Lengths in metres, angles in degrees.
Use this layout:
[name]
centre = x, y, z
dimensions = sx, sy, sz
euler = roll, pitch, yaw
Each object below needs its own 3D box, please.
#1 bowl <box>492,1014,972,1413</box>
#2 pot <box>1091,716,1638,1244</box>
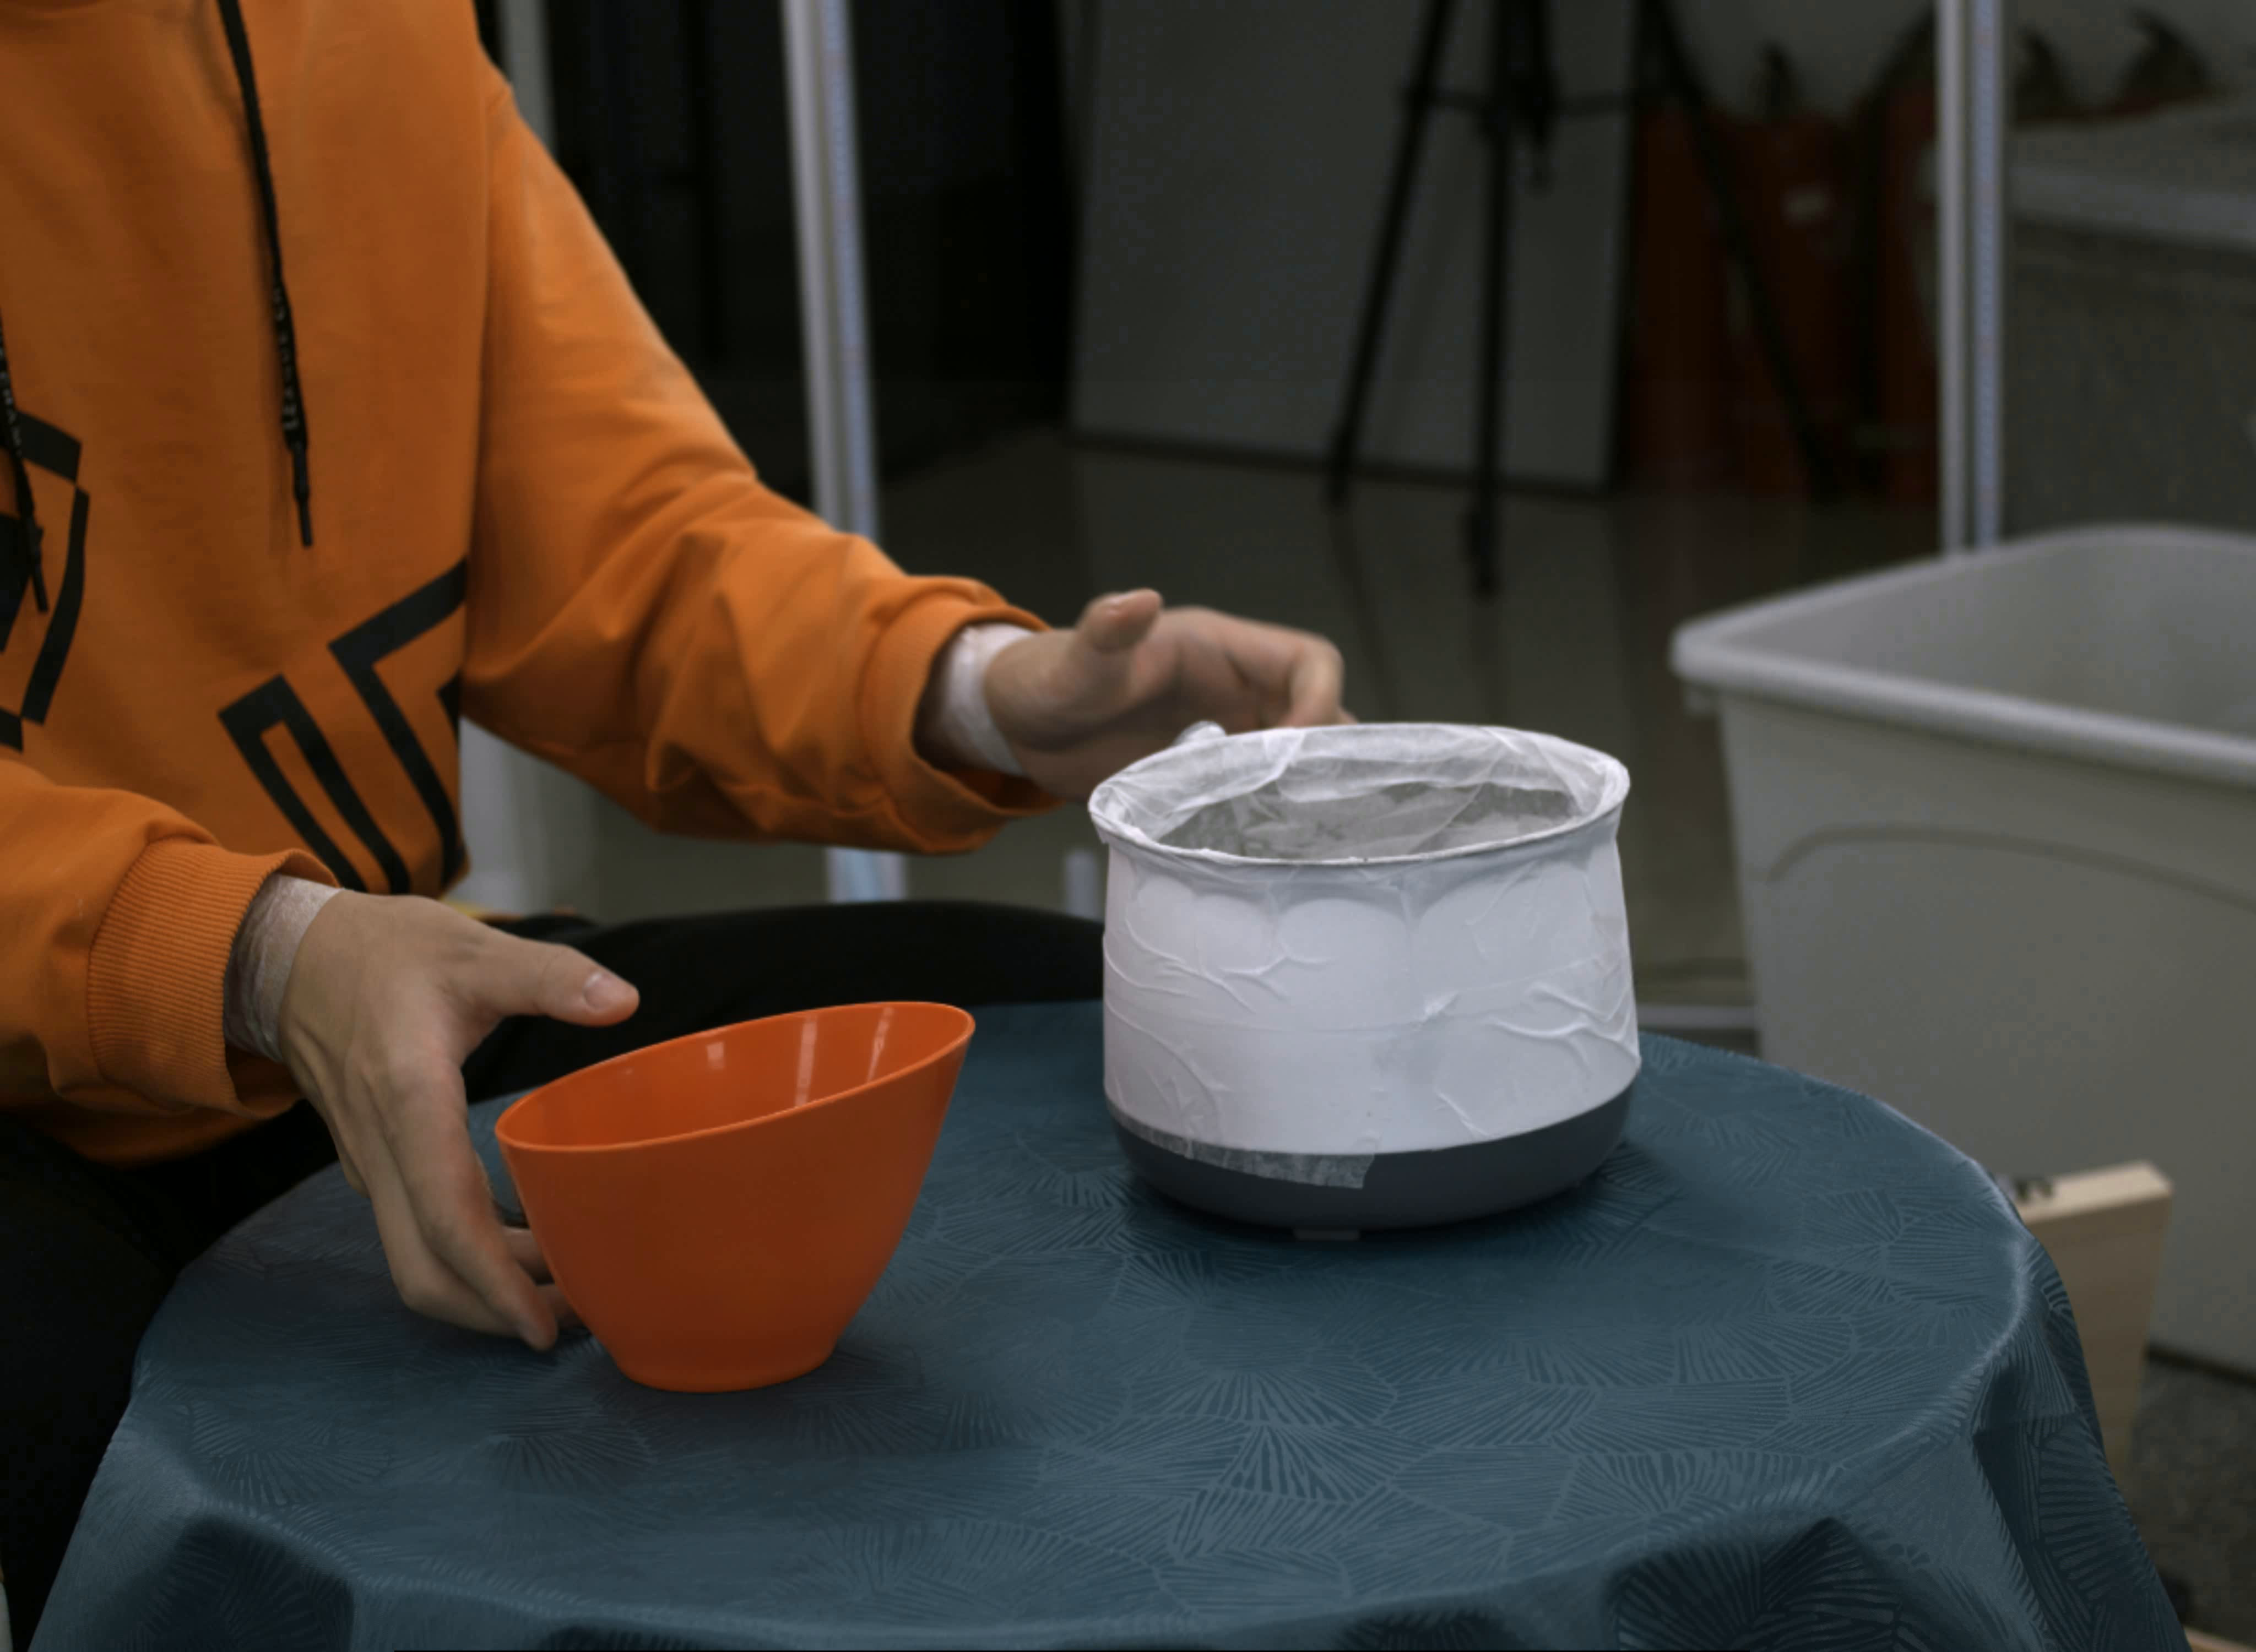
[bowl]
centre = -0.115, 0.117, 1.622
dimensions = 0.146, 0.106, 0.148
euler = -5, 12, 0
[pot]
centre = 0.064, 0.043, 1.778
dimensions = 0.175, 0.138, 0.236
euler = -11, 16, -29
